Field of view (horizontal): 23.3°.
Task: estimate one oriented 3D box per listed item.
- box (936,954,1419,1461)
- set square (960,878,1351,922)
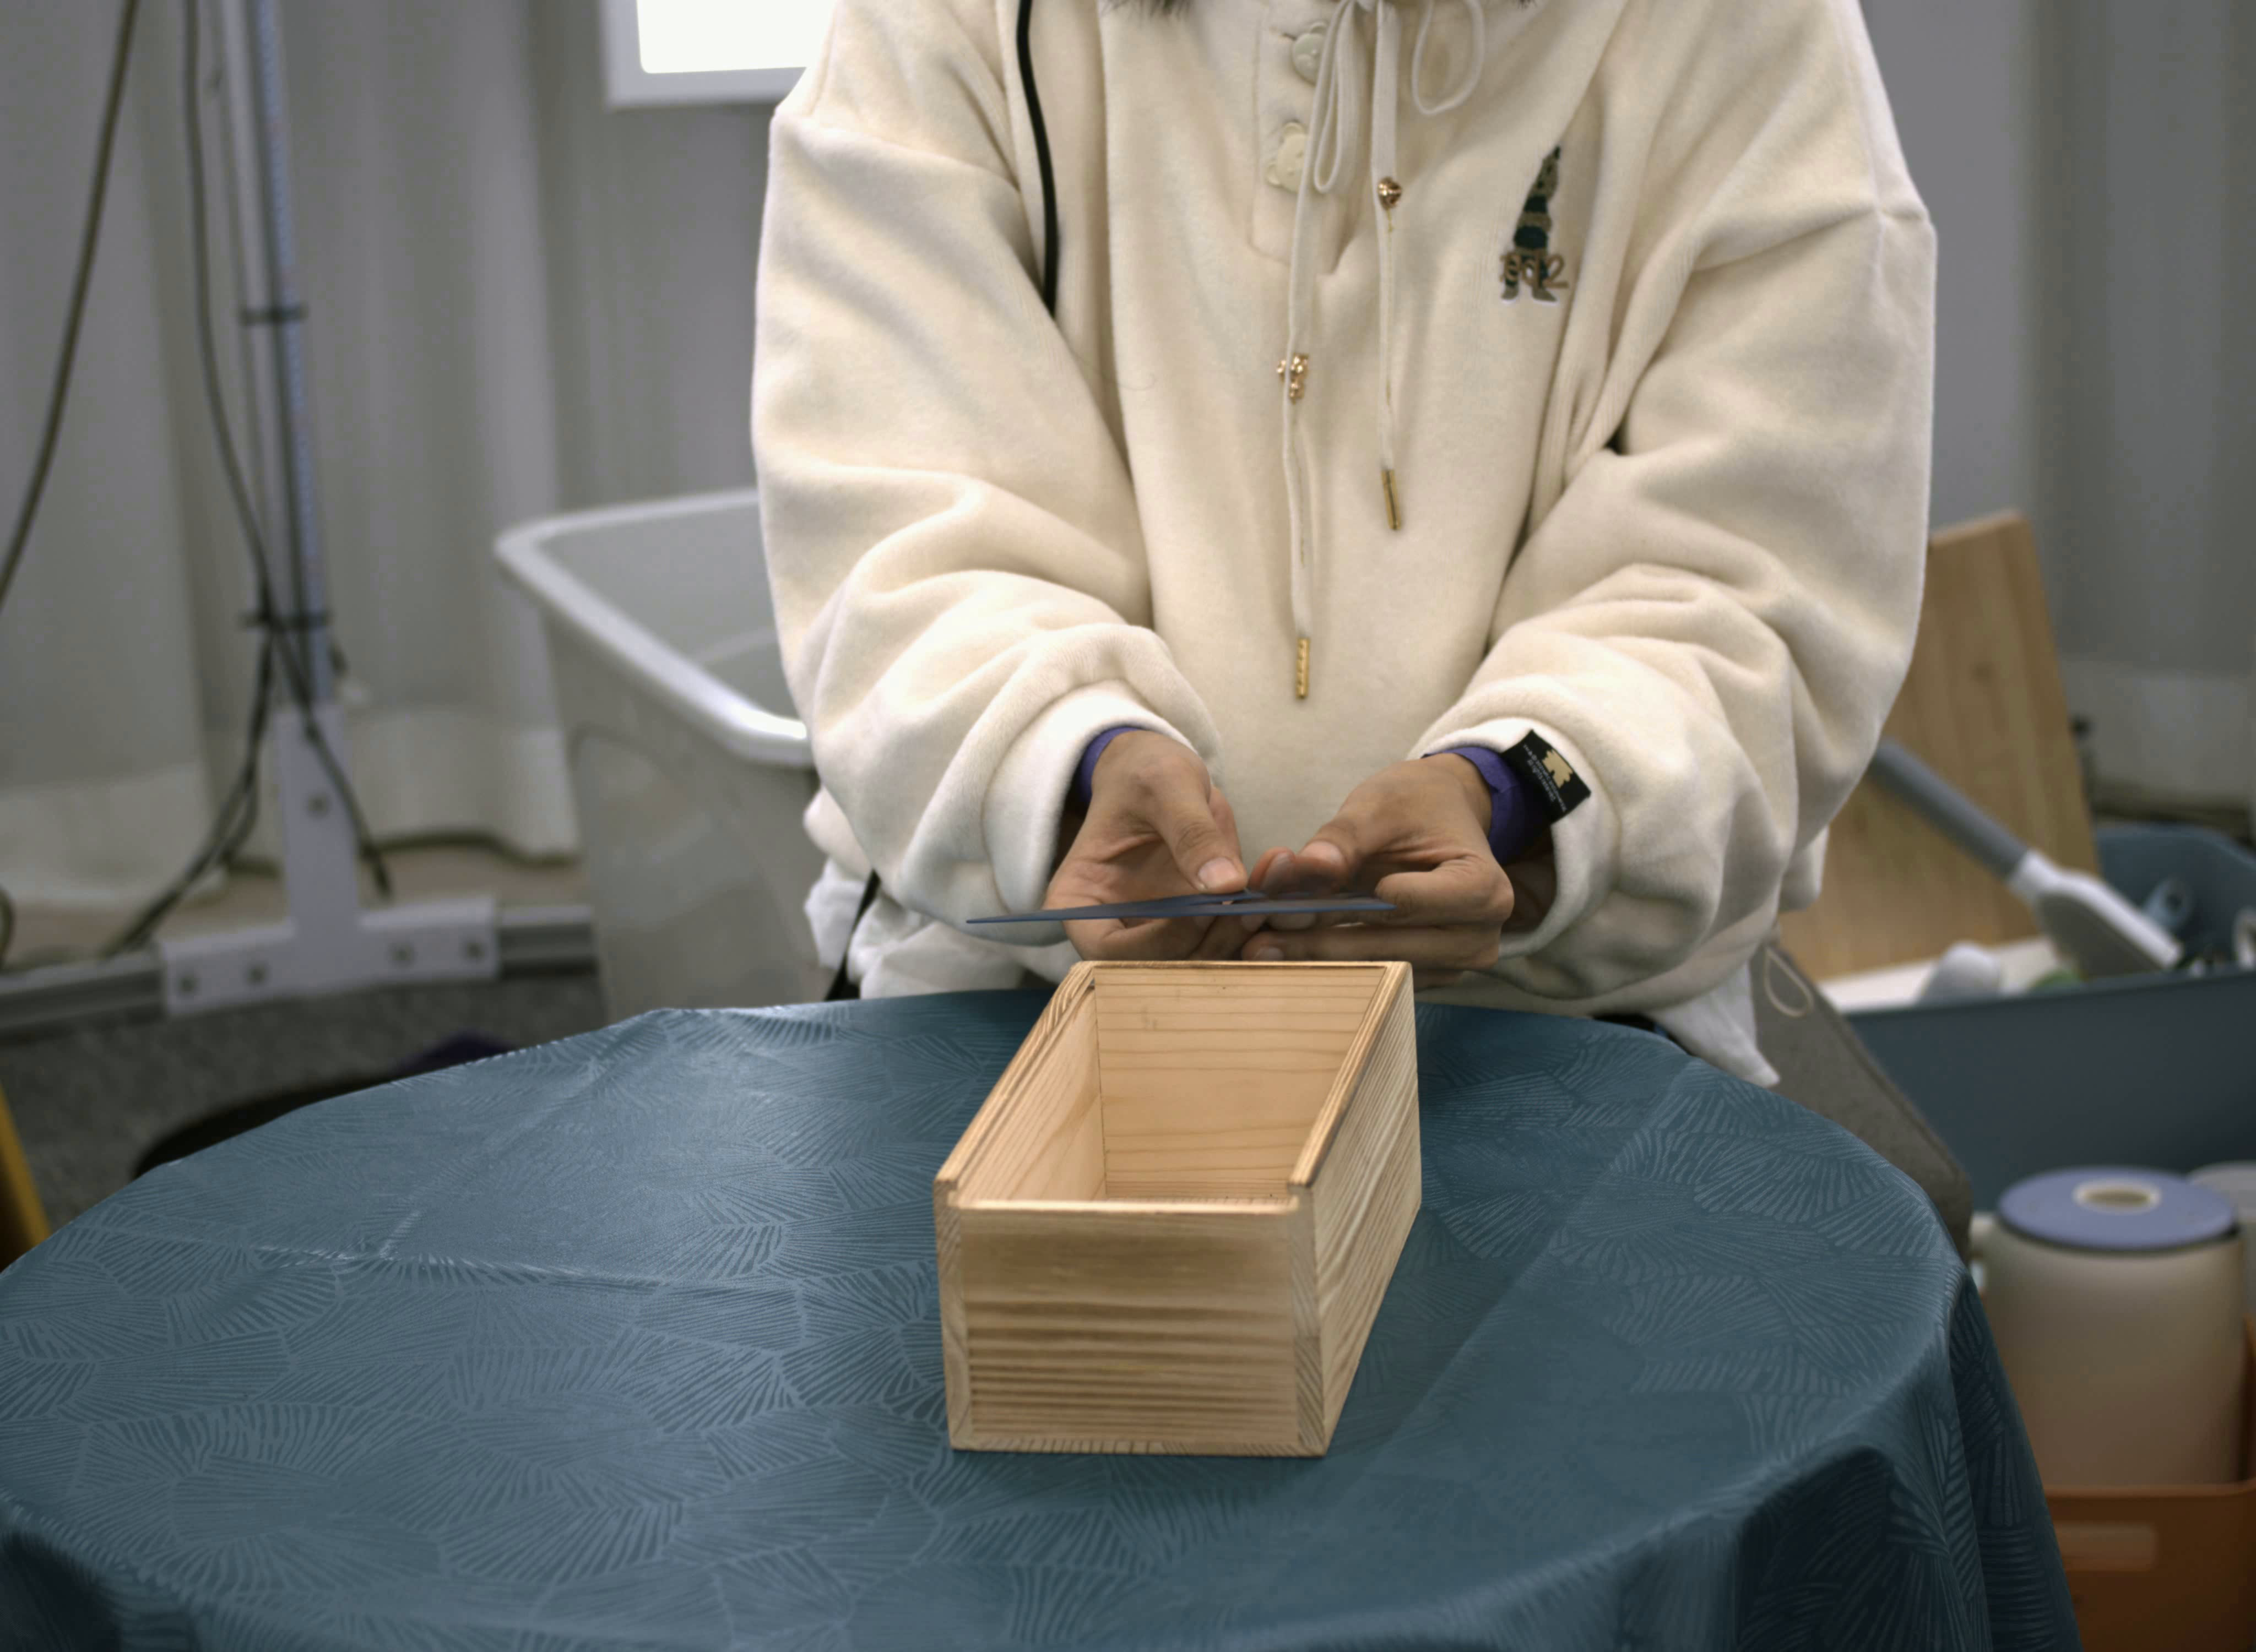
[{"bbox_3d":[0.019,0.106,1.587,0.107,0.080,0.212,0,15,10],"label":"box"},{"bbox_3d":[0.014,0.022,1.744,0.132,0.006,0.061,-2,9,18],"label":"set square"}]
